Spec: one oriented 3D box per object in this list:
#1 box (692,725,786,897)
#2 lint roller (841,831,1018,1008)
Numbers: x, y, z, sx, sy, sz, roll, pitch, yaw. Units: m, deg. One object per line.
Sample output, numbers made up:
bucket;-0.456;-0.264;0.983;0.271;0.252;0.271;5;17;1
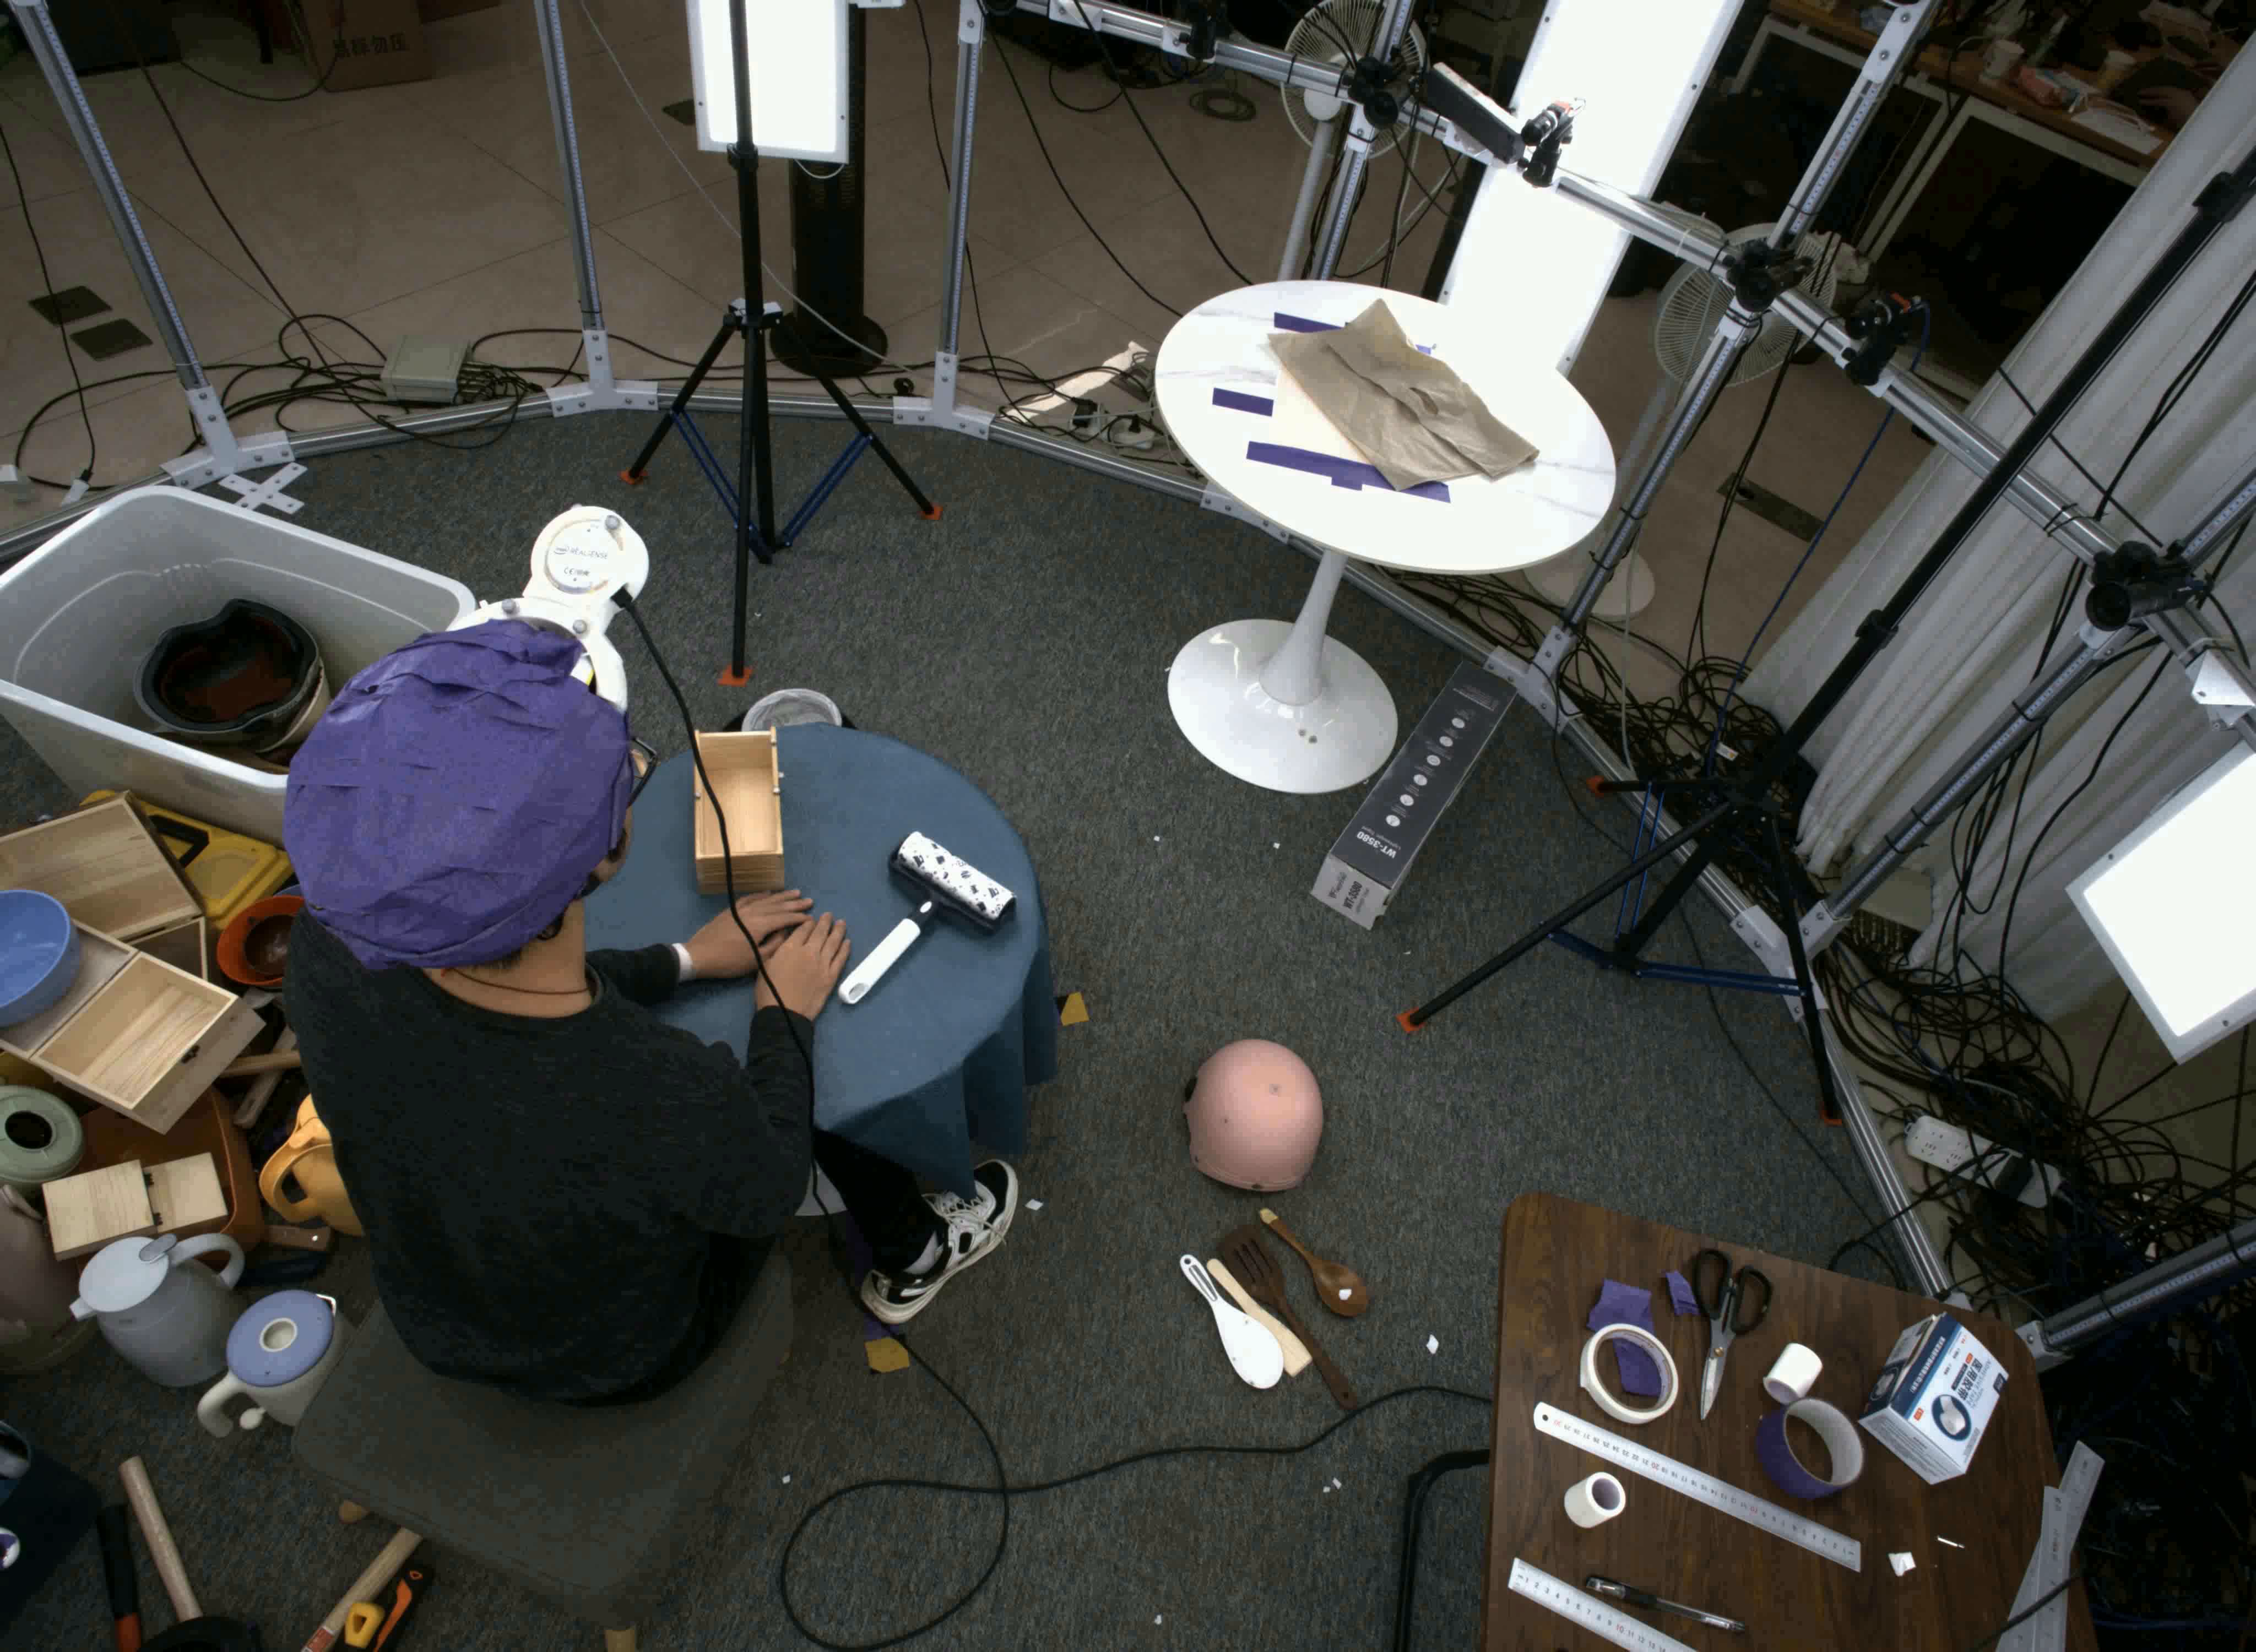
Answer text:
box;-0.502;-0.023;1.664;0.108;0.082;0.206;-4;55;-16
lint roller;-0.274;0.130;1.634;0.173;0.051;0.246;32;54;9
